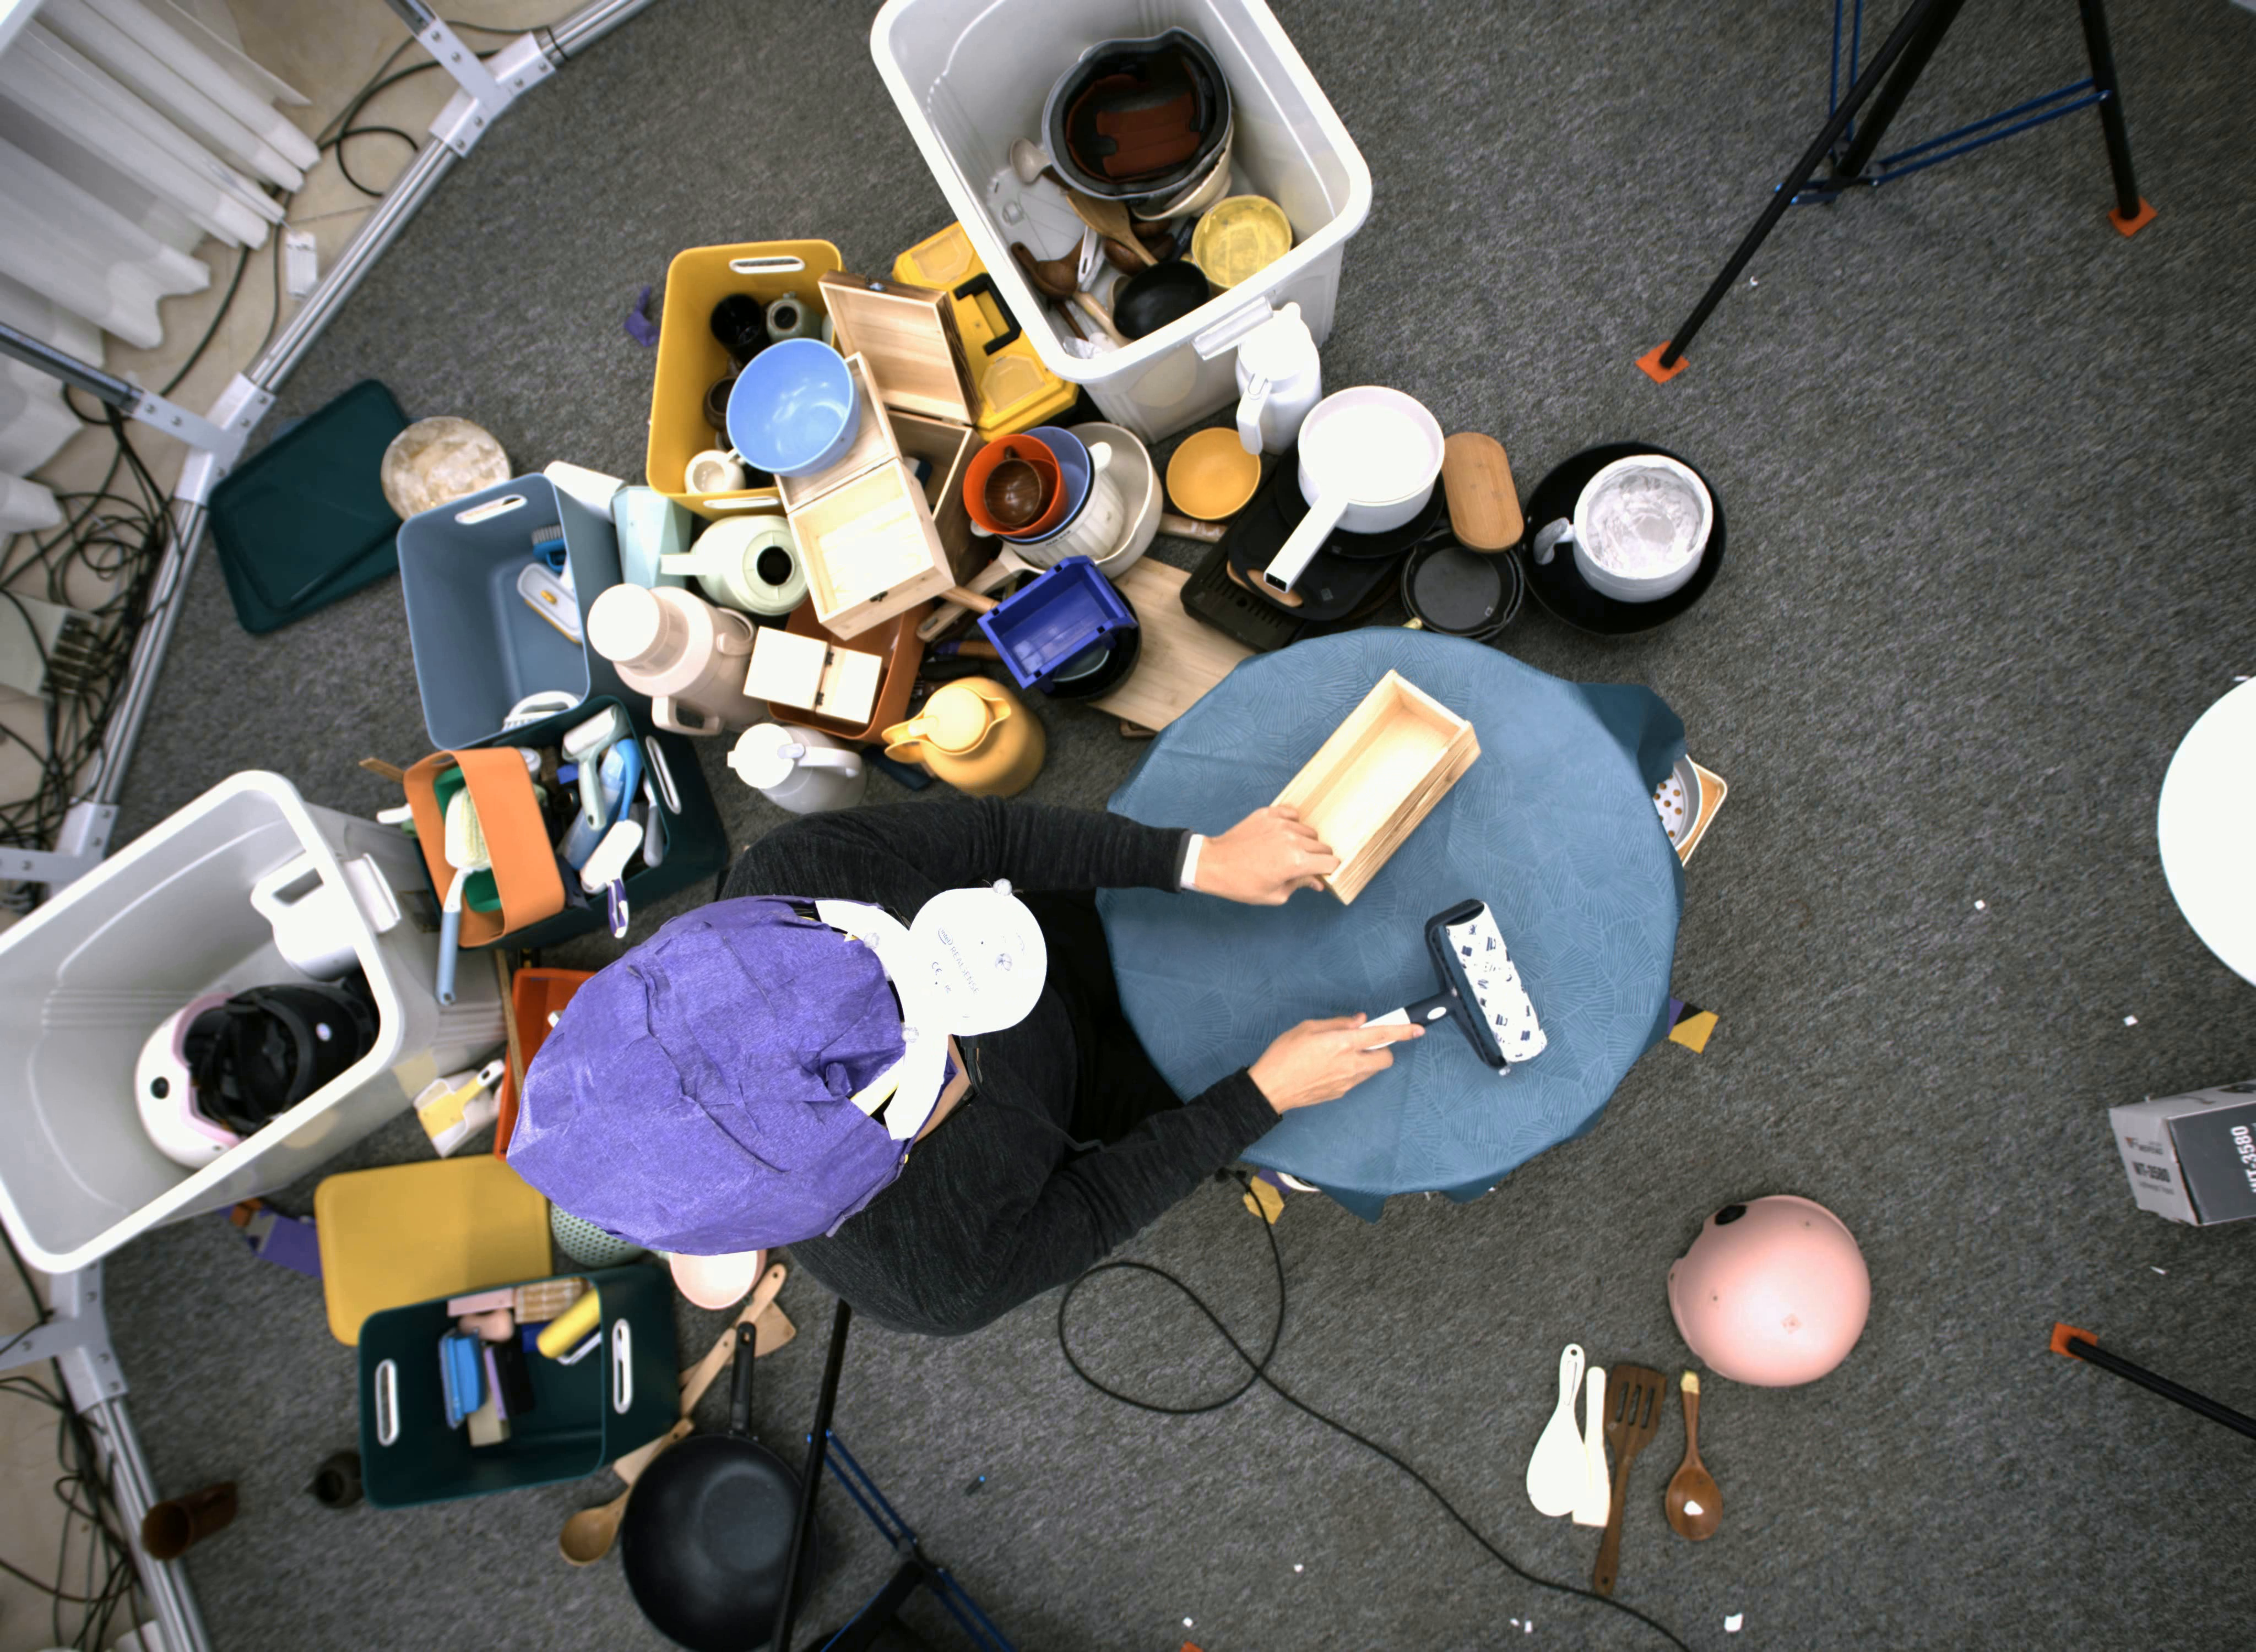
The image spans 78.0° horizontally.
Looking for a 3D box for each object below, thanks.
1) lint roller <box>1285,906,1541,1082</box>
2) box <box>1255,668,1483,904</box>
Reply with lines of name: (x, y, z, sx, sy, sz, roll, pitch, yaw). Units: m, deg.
lint roller: (0.272, 0.201, 1.379, 0.248, 0.049, 0.178, -27, 112, 9)
box: (0.245, -0.041, 1.395, 0.211, 0.081, 0.106, -49, 61, 1)
